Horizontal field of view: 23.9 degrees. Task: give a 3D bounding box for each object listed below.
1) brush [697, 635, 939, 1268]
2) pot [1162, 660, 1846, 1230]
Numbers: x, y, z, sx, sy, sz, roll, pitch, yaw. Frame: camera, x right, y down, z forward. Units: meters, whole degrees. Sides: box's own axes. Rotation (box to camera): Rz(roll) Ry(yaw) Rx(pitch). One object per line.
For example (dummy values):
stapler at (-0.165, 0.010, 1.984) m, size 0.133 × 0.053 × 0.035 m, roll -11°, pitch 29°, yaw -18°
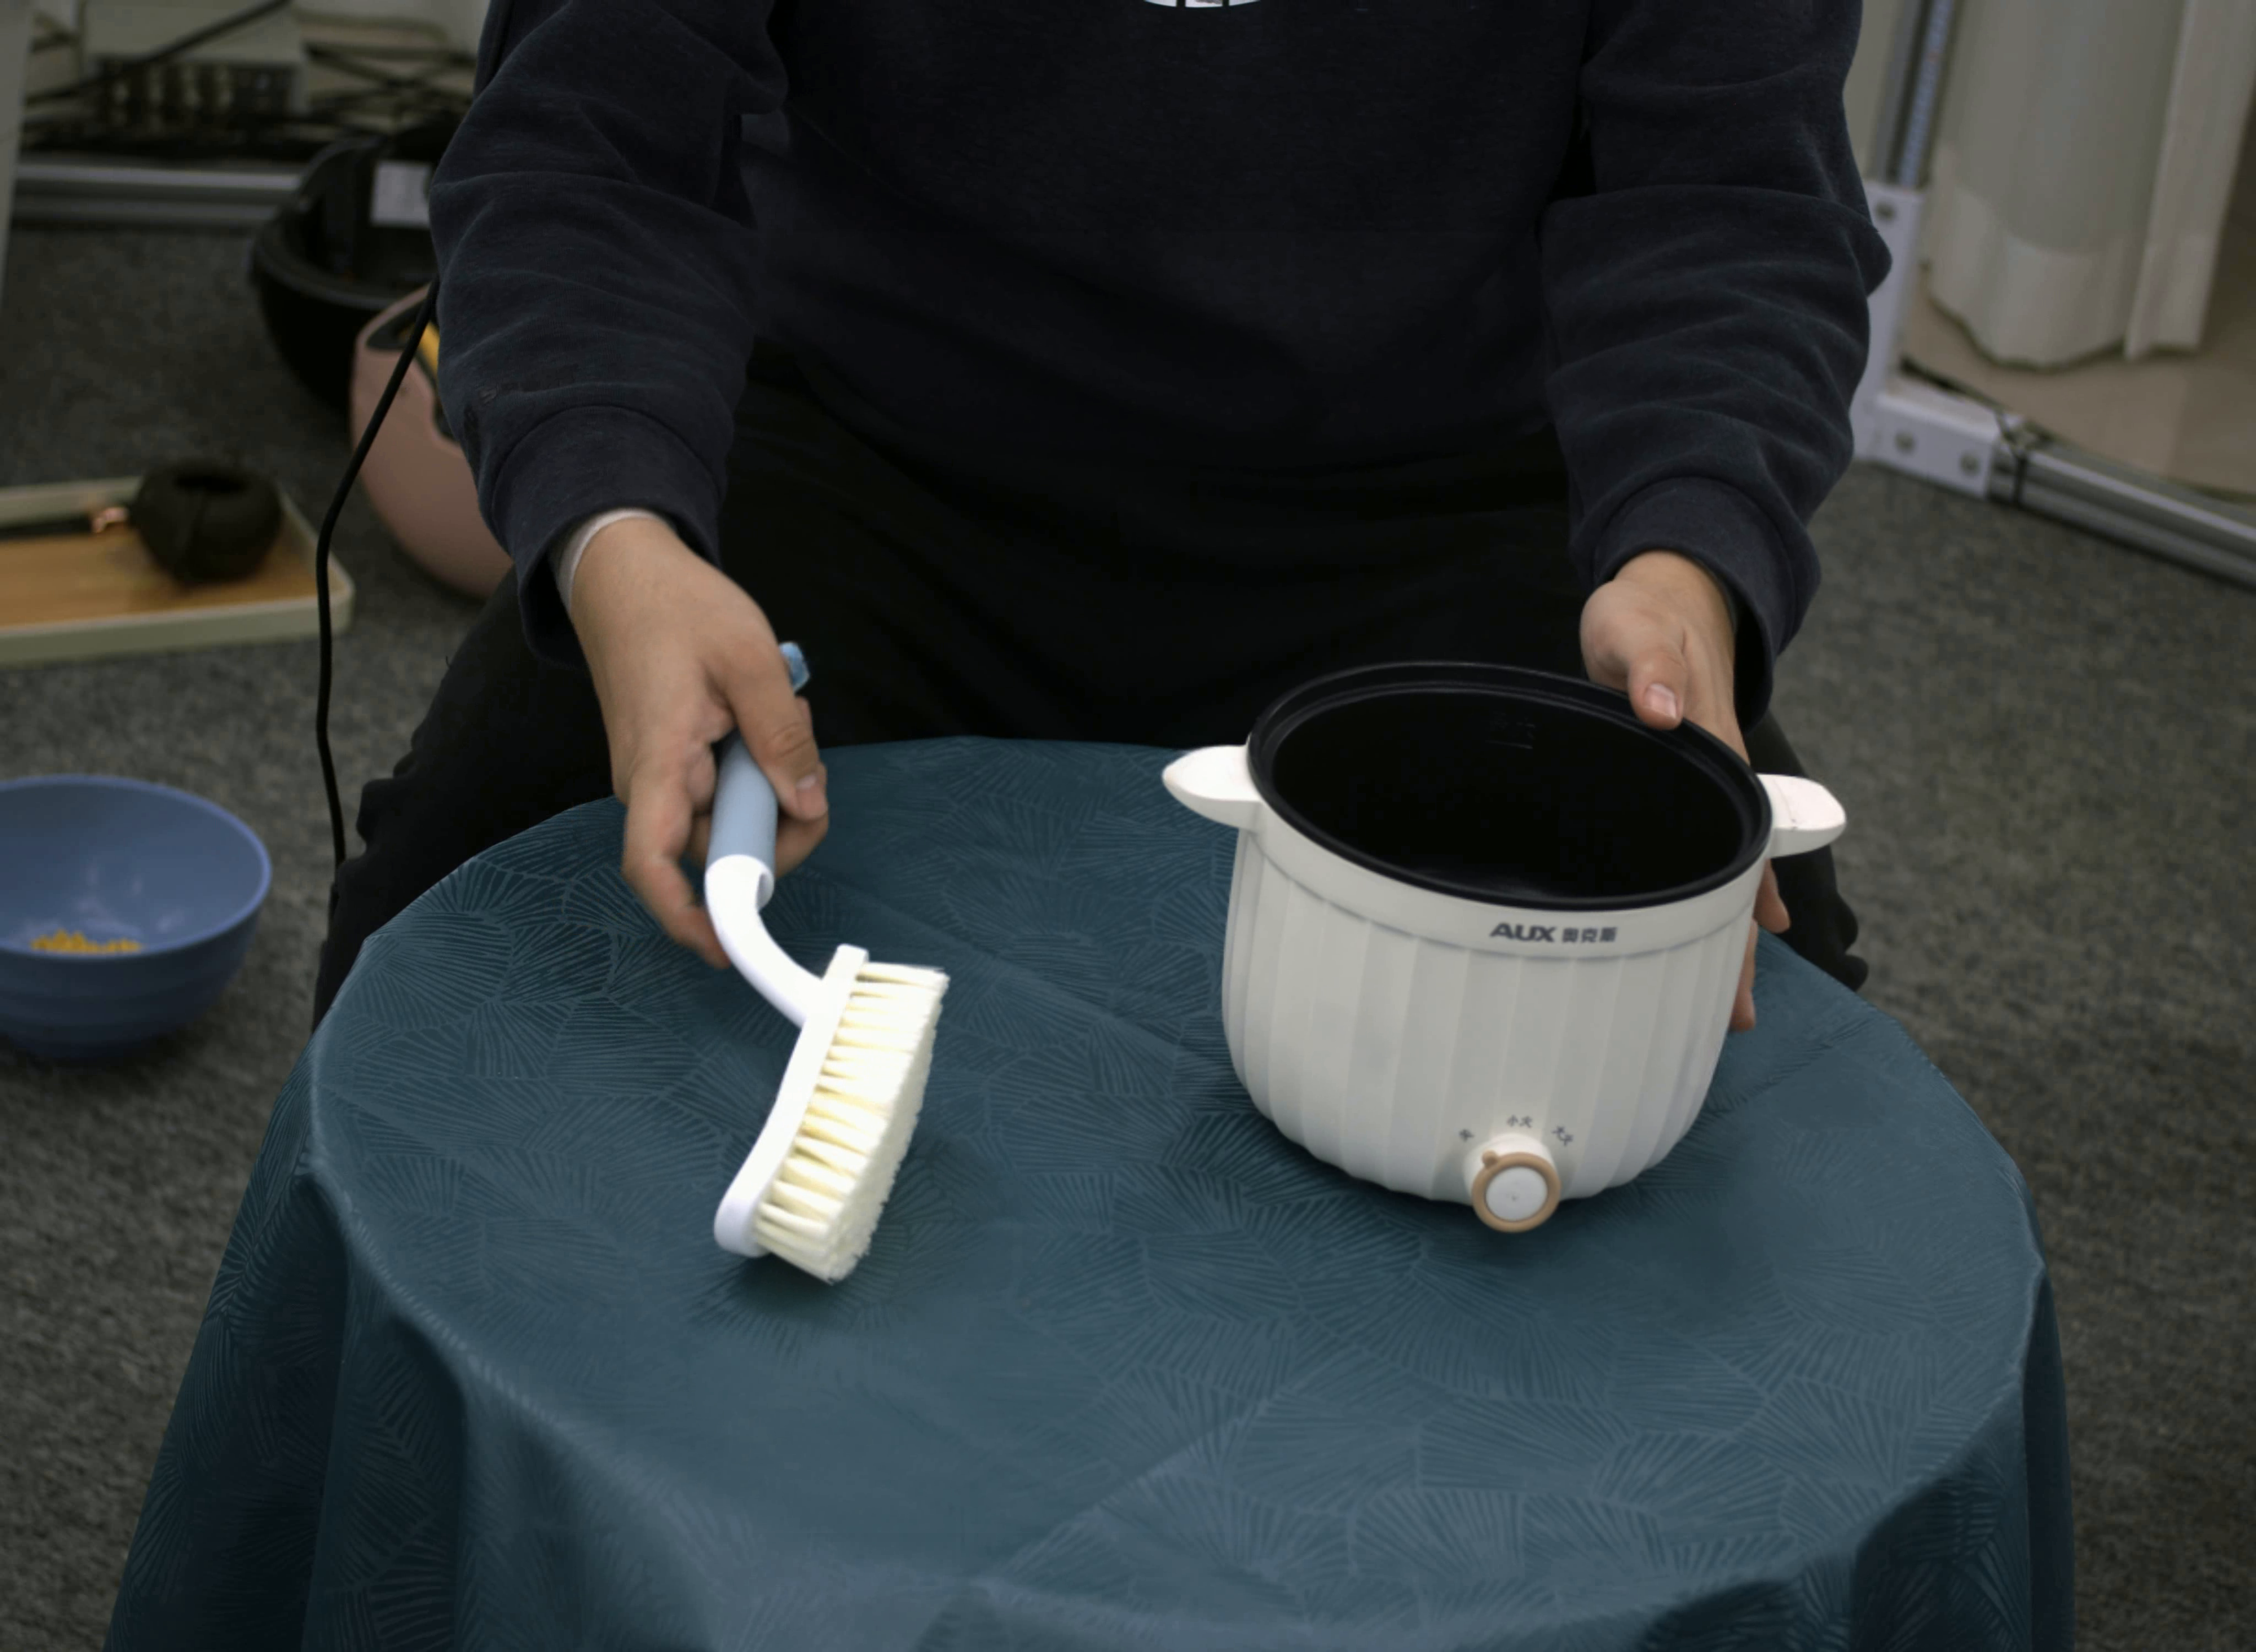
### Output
brush at (-0.097, 0.034, 1.838) m, size 0.084 × 0.083 × 0.328 m, roll 40°, pitch 27°, yaw -26°
pot at (0.124, 0.044, 1.840) m, size 0.239 × 0.142 × 0.192 m, roll 2°, pitch 24°, yaw -8°
